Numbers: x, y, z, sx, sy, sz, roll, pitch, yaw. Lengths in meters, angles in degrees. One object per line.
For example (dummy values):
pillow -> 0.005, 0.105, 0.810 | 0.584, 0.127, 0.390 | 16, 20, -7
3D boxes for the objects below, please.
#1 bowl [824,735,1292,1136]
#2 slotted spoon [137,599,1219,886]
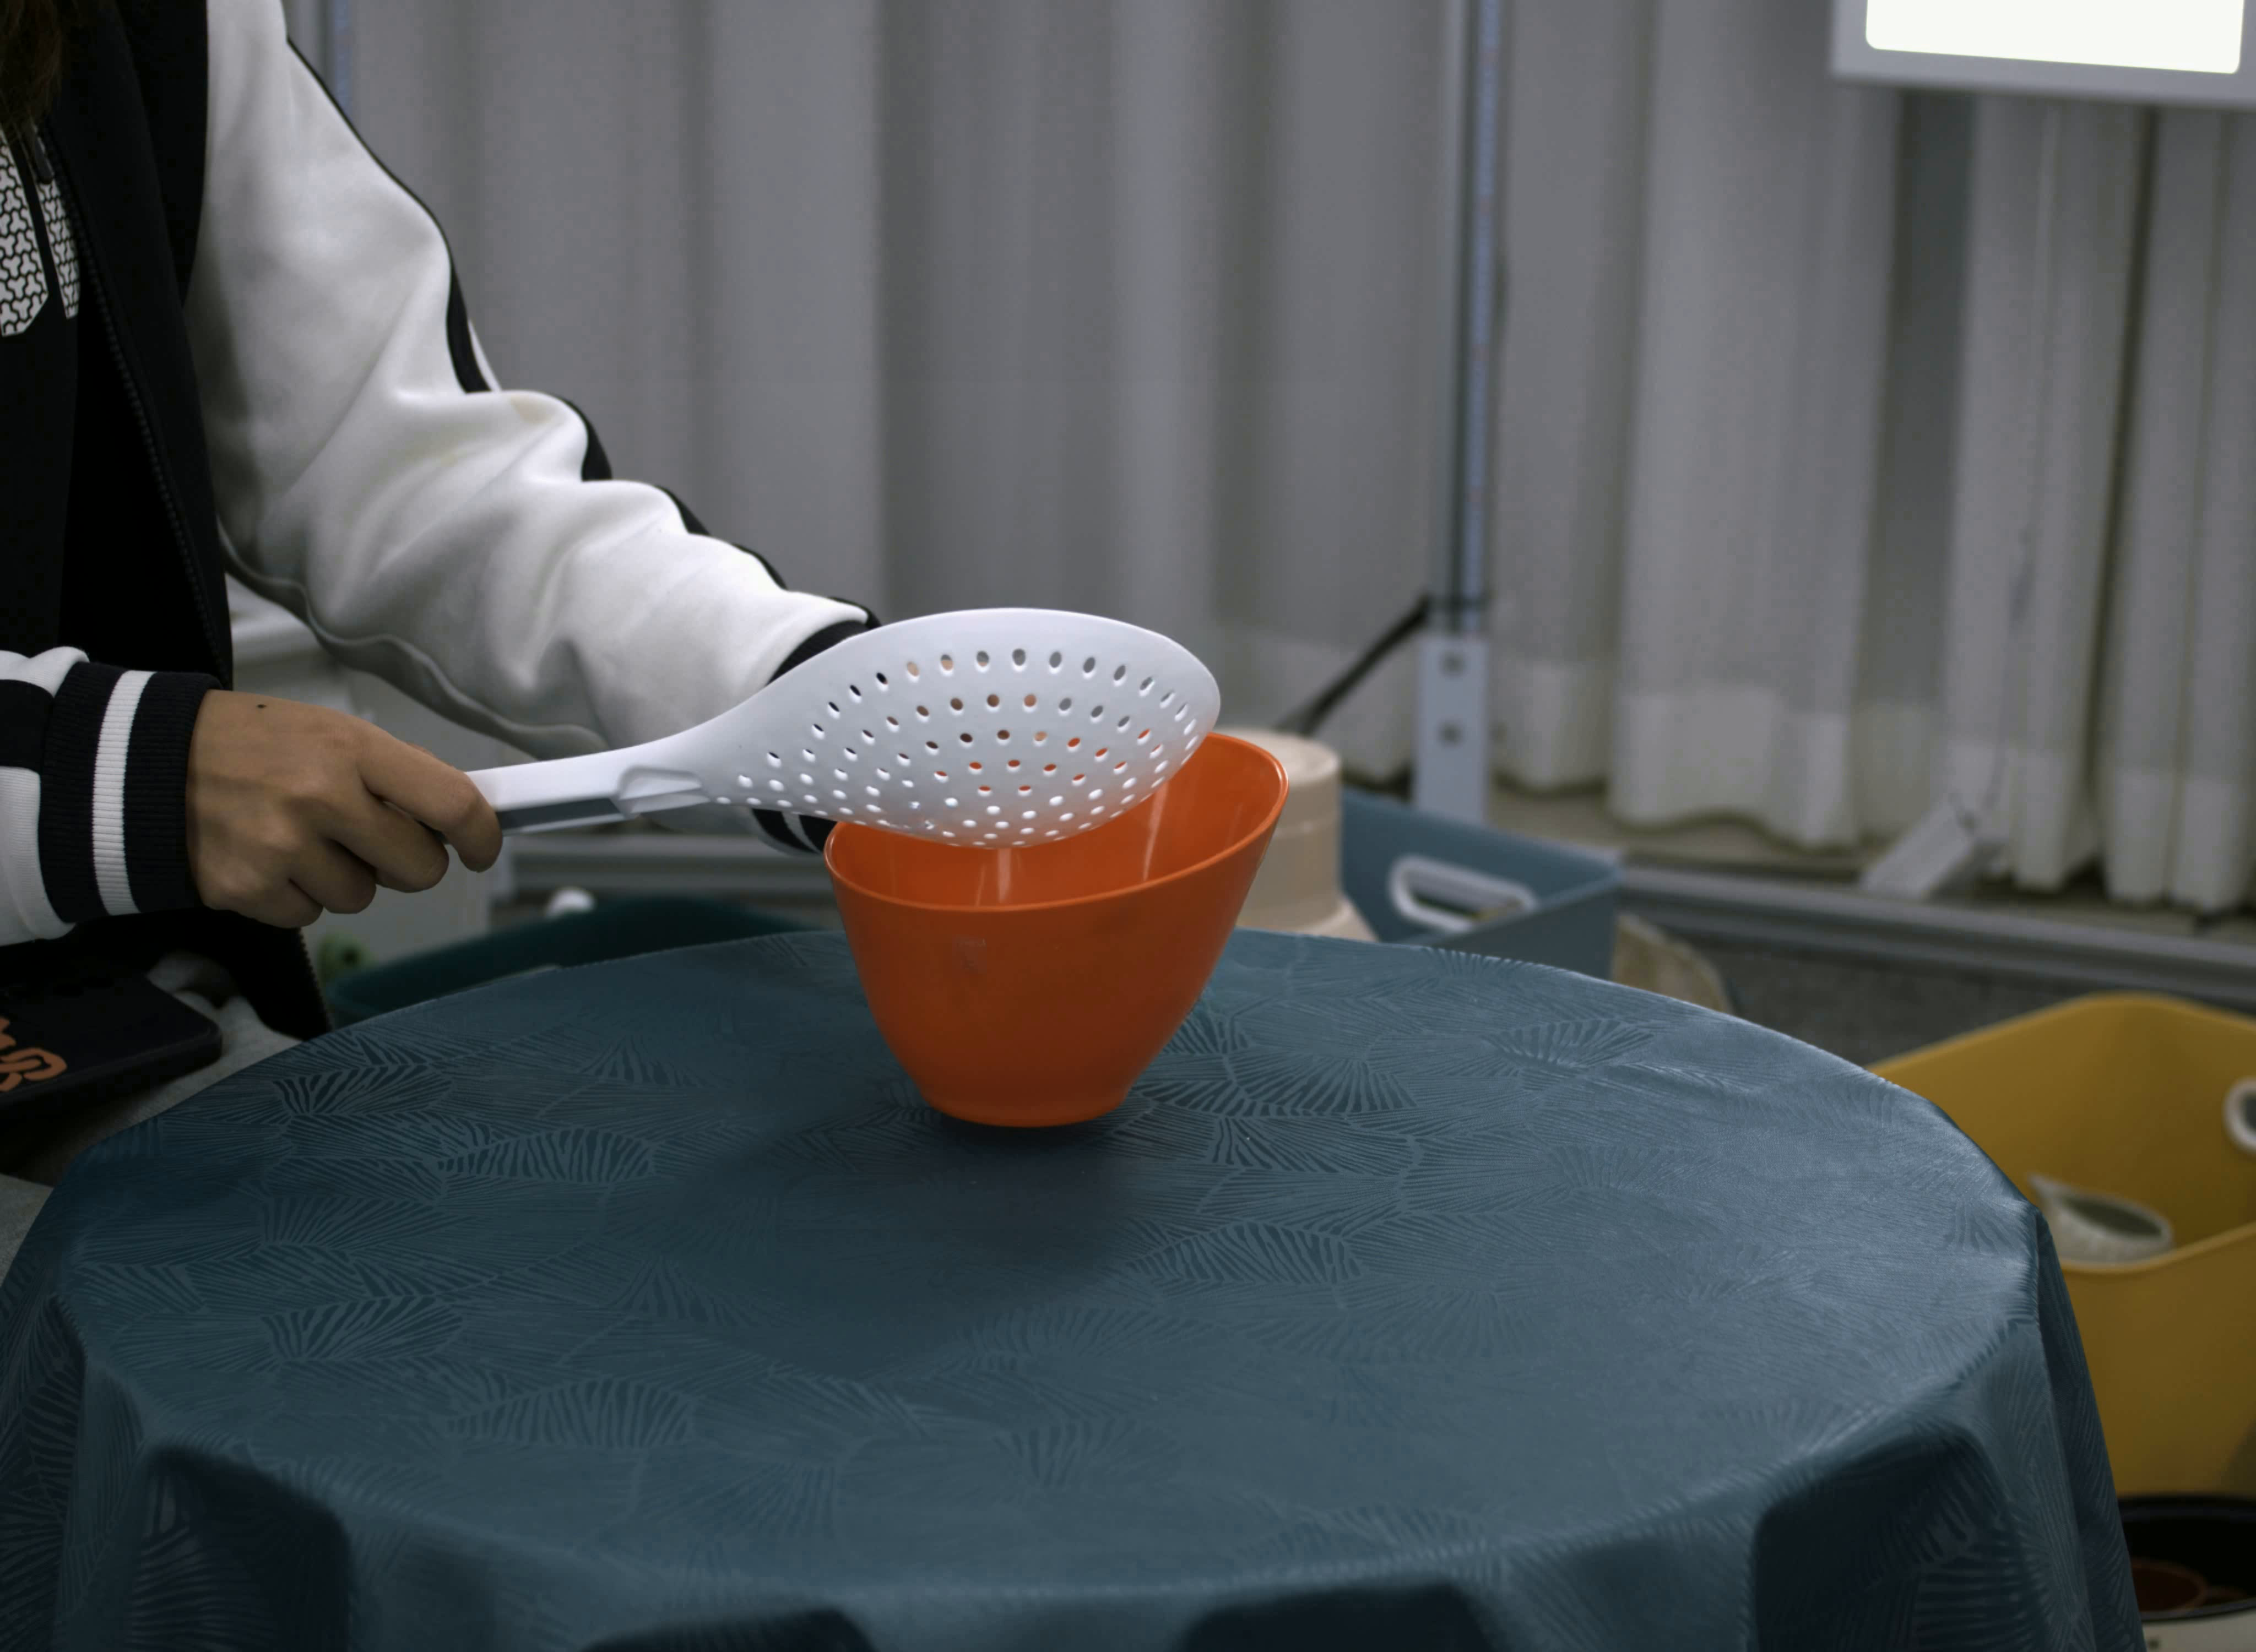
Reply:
bowl -> -0.022, 0.037, 1.670 | 0.147, 0.105, 0.147 | 1, 19, 0
slotted spoon -> -0.143, -0.016, 1.637 | 0.347, 0.045, 0.137 | -4, -25, 14
